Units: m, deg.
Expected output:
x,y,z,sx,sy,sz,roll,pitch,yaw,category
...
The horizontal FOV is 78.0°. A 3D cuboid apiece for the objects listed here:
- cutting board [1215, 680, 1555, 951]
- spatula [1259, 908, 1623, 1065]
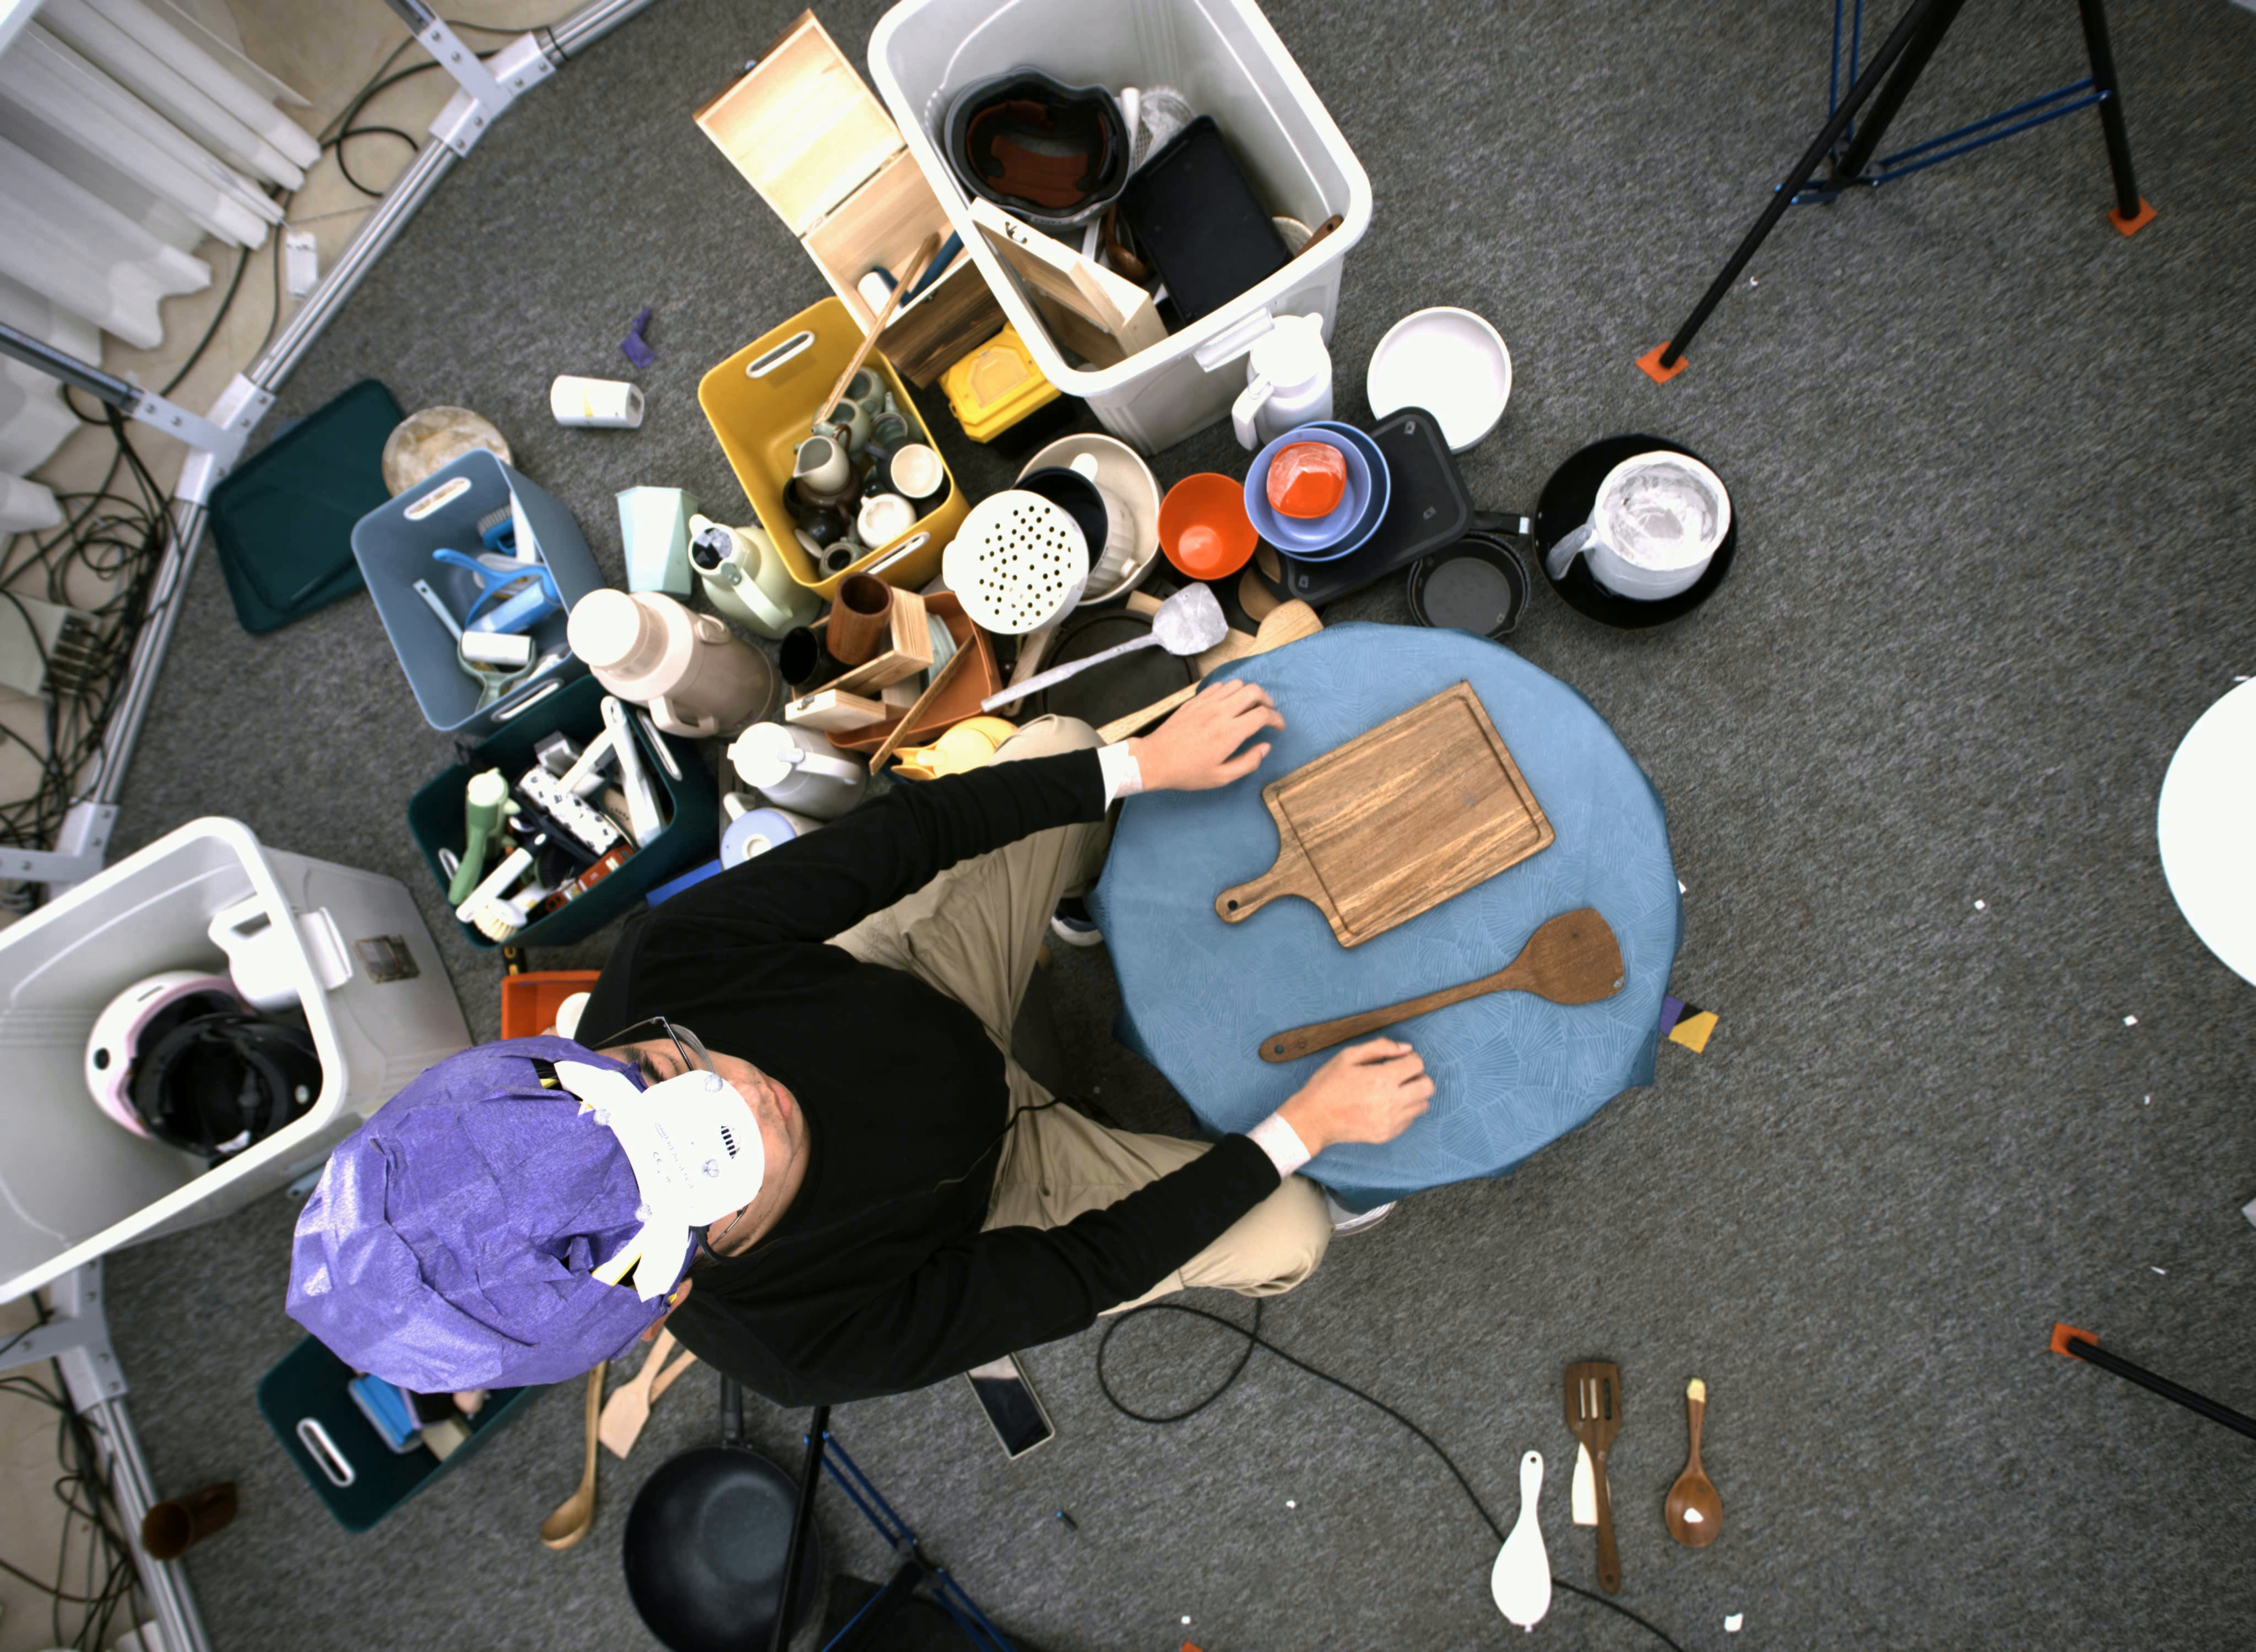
x,y,z,sx,sy,sz,roll,pitch,yaw,category
0.248,0.010,1.457,0.354,0.023,0.200,-29,82,8,cutting board
0.320,0.181,1.437,0.388,0.016,0.095,-19,83,9,spatula
